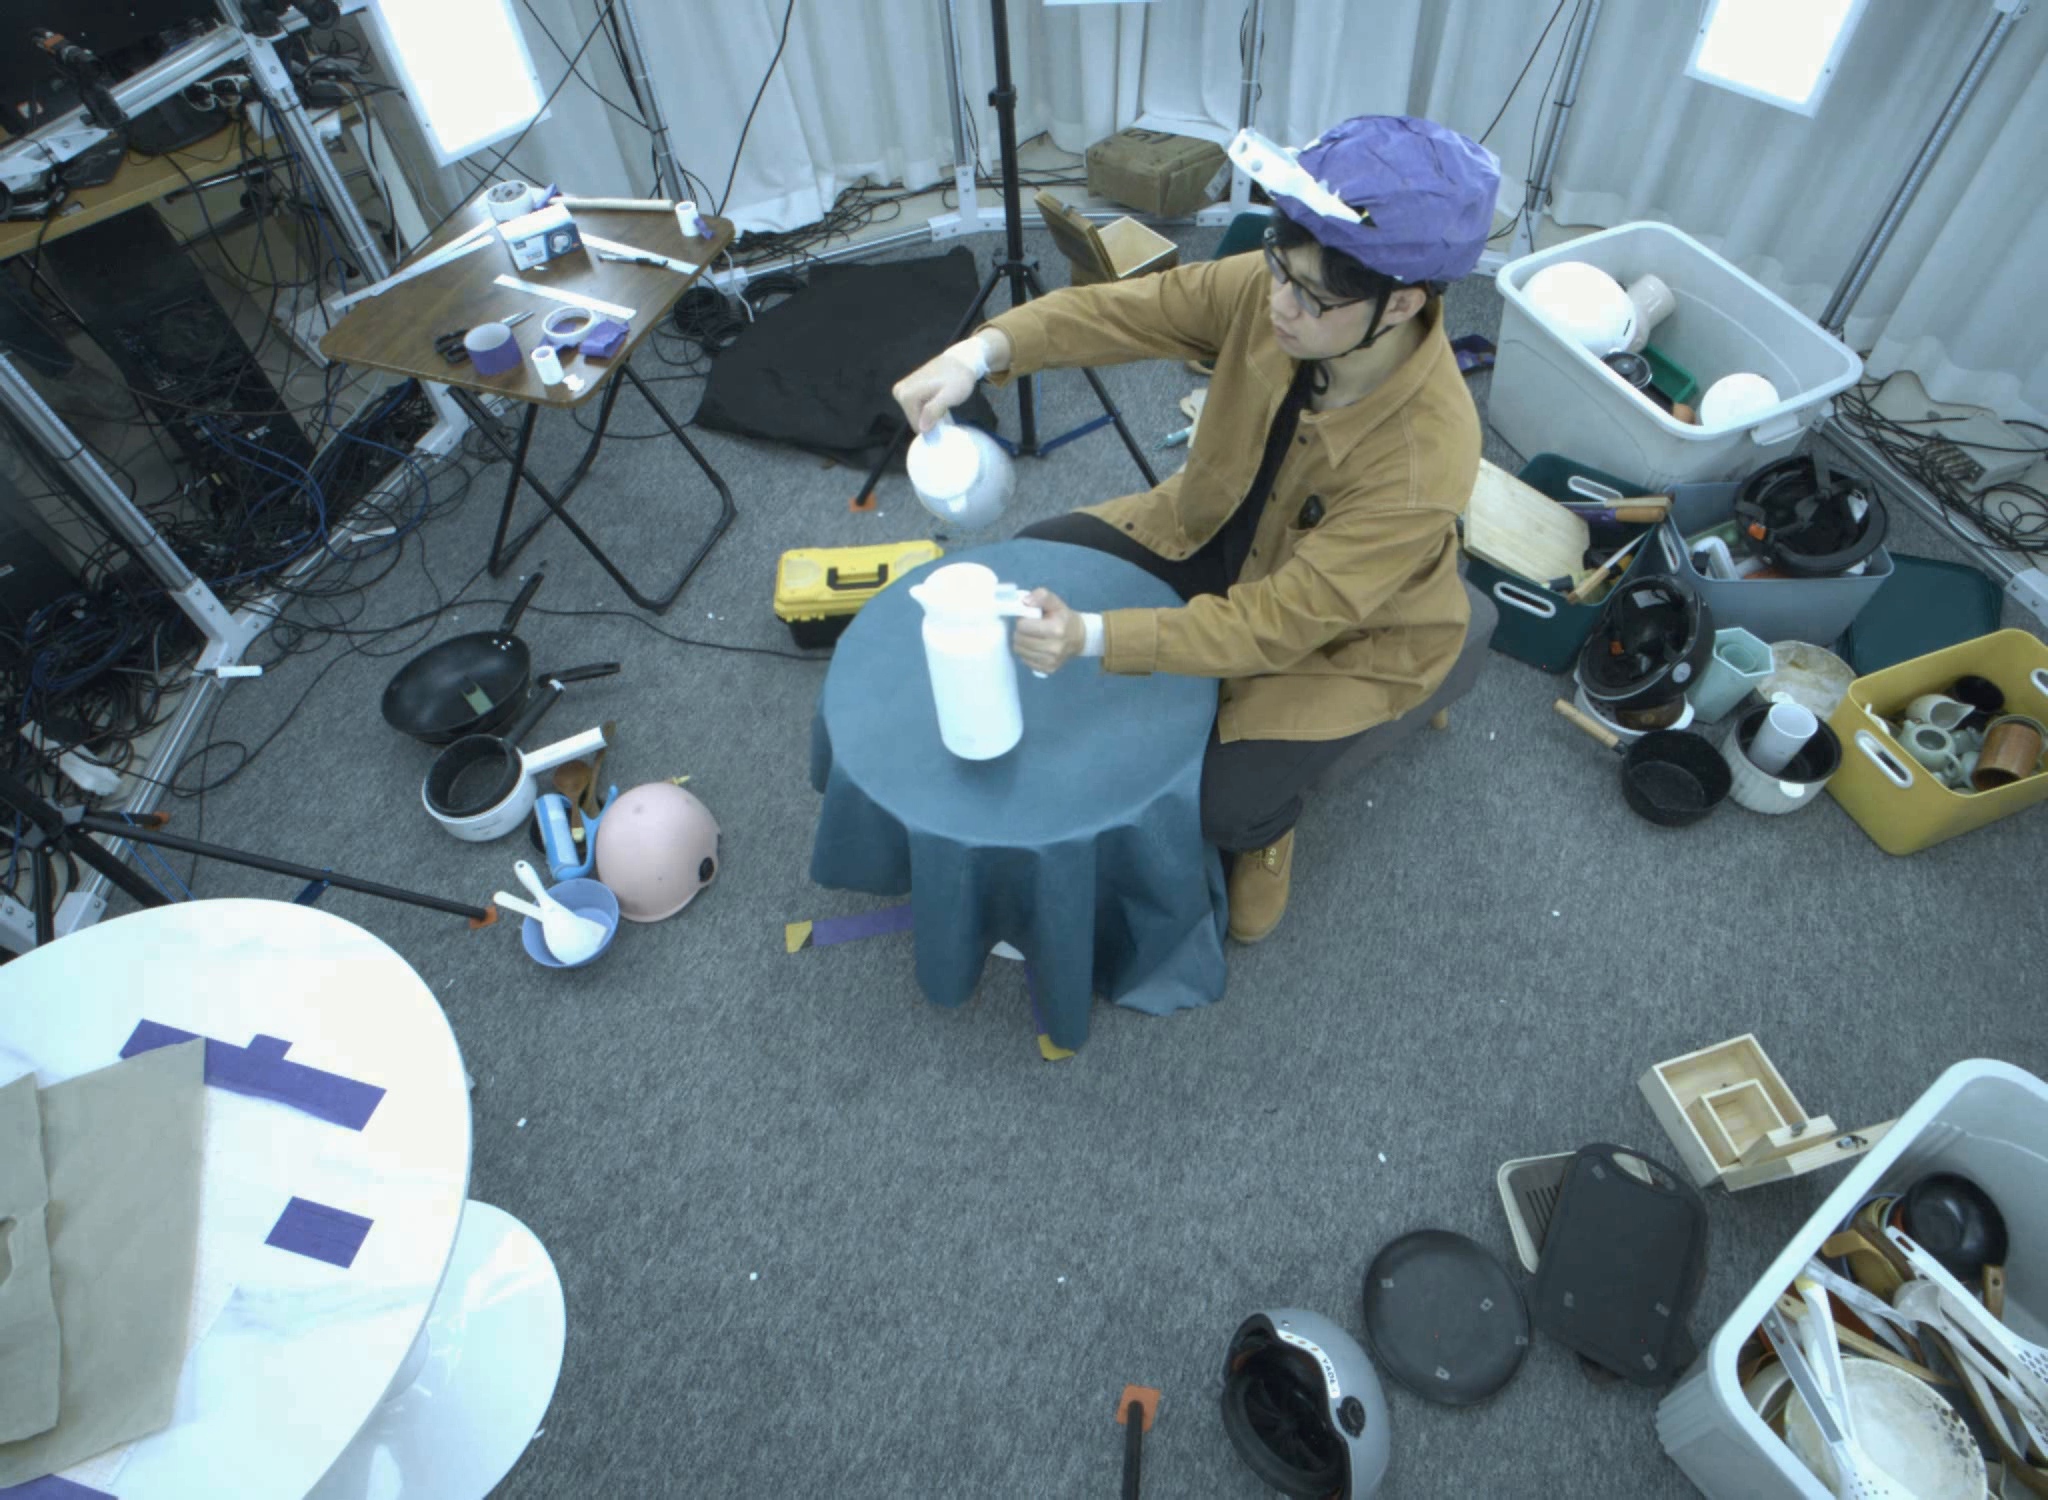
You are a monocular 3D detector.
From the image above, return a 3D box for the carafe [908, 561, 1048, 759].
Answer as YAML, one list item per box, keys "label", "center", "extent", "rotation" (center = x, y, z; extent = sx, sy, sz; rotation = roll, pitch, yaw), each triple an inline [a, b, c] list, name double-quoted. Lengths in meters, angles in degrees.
- label: "carafe"
  center: [-0.054, -0.117, 1.650]
  extent: [0.172, 0.272, 0.123]
  rotation: [1, 44, 7]

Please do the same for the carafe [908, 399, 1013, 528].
- label: "carafe"
  center: [-0.100, -0.391, 1.624]
  extent: [0.132, 0.249, 0.168]
  rotation: [-17, 94, 6]
